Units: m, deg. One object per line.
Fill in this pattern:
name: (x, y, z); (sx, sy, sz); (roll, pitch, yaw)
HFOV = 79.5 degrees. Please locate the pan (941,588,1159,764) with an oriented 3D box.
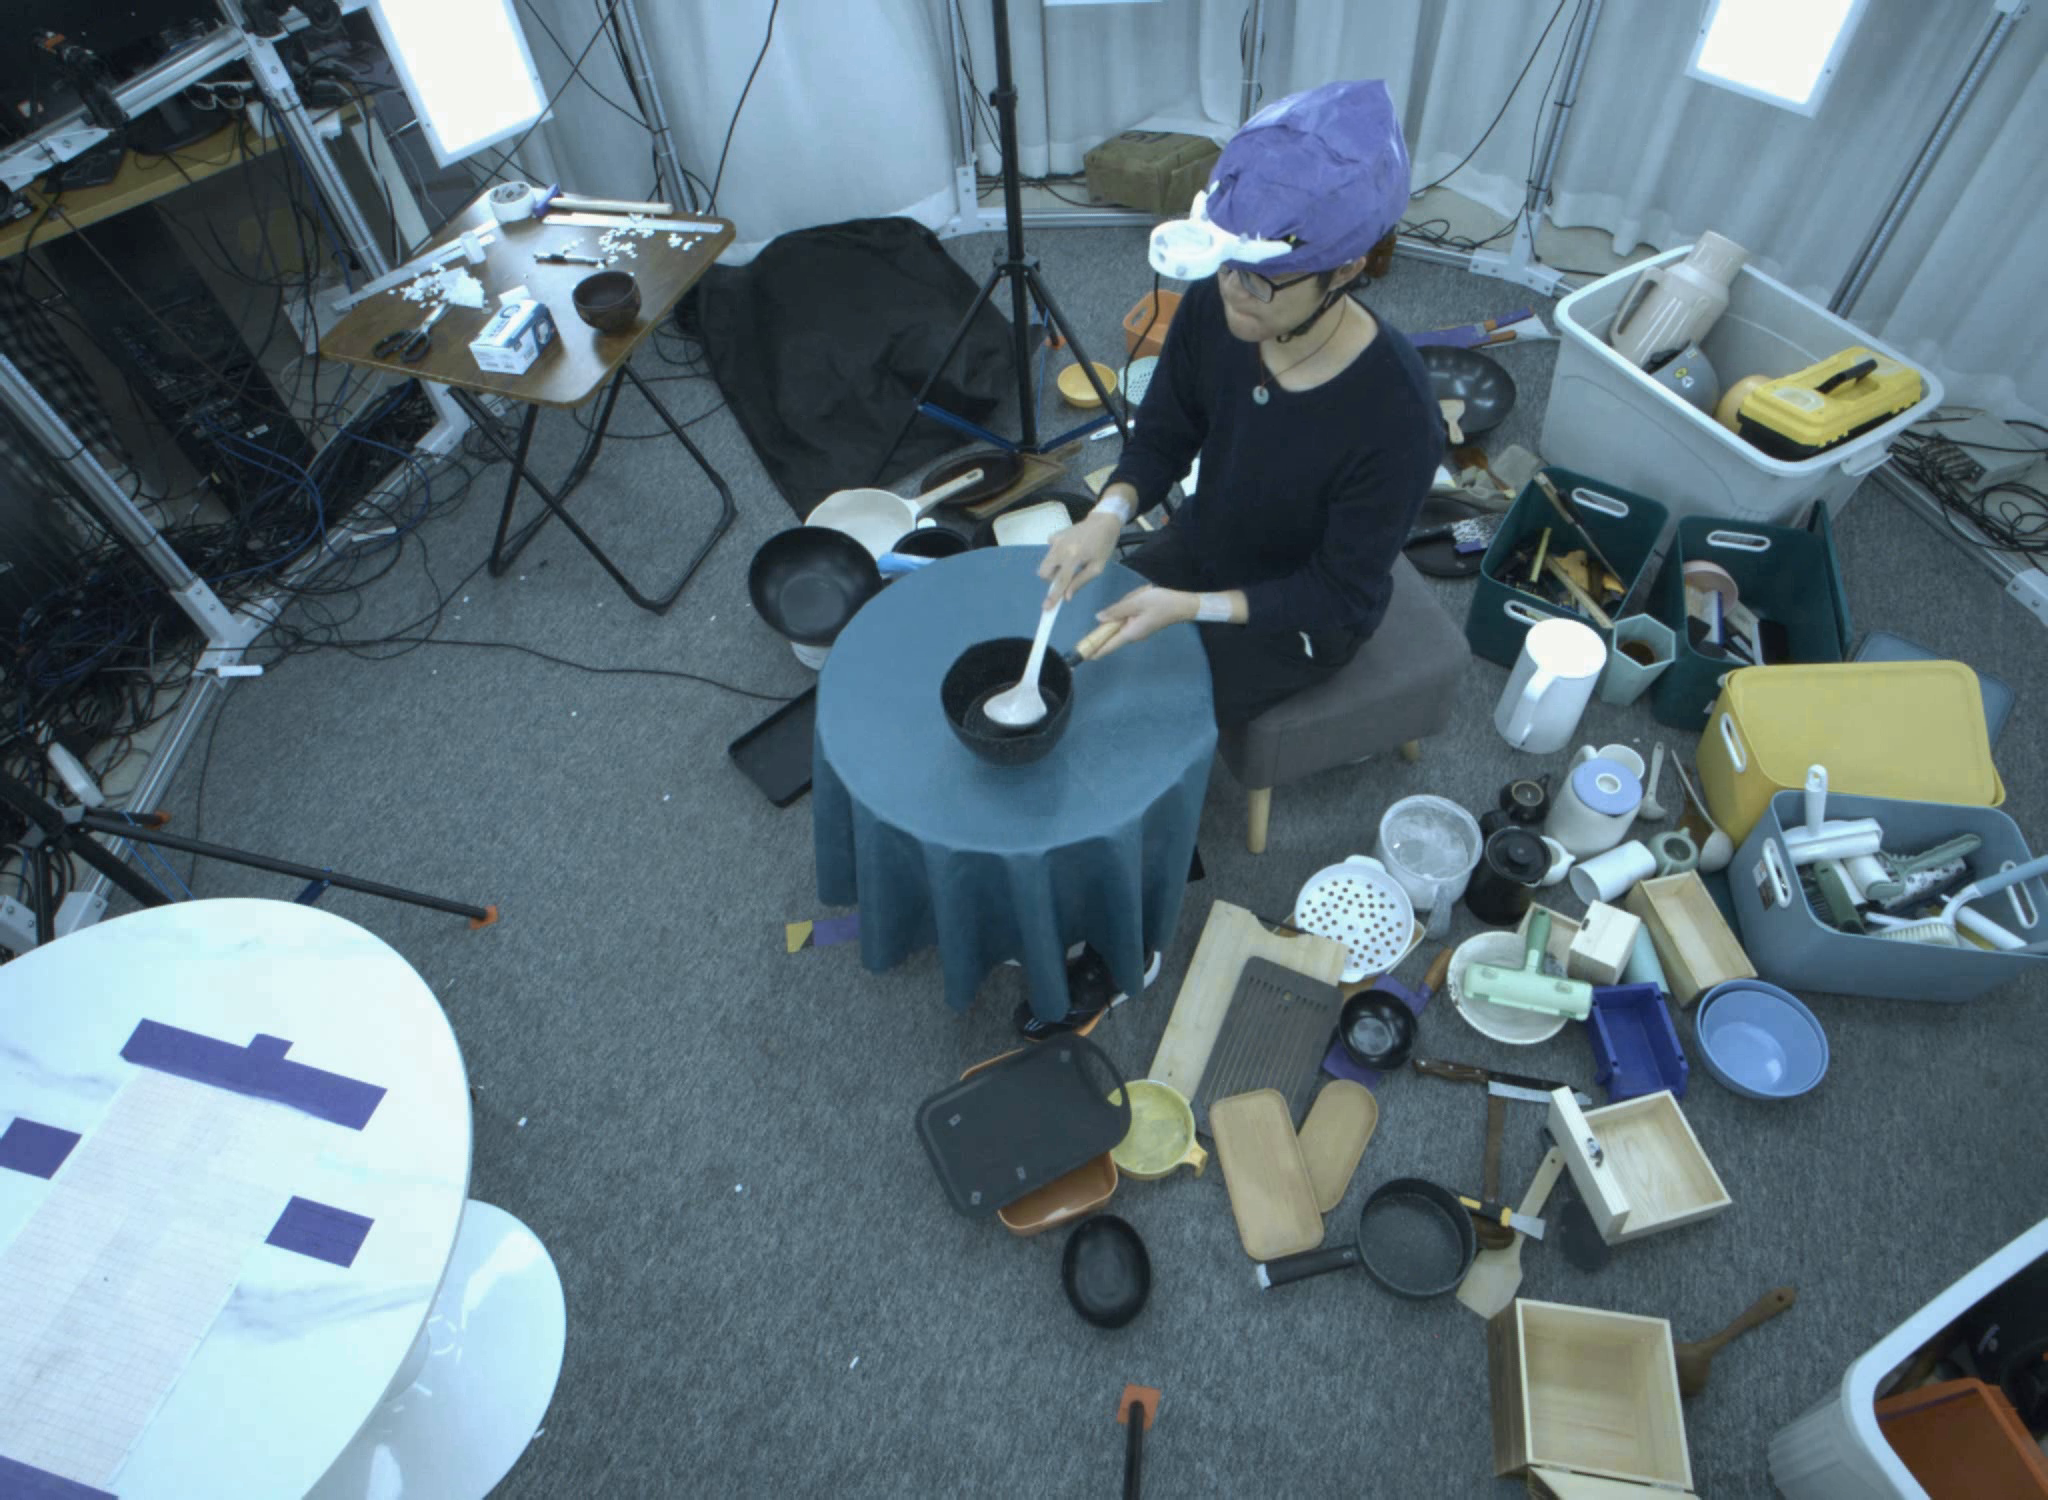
pan: (0.047, -0.113, 1.733); (0.345, 0.110, 0.203); (-32, 57, -14)

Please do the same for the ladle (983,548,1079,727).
ladle: (0.019, -0.163, 1.710); (0.088, 0.071, 0.274); (15, 85, 26)
